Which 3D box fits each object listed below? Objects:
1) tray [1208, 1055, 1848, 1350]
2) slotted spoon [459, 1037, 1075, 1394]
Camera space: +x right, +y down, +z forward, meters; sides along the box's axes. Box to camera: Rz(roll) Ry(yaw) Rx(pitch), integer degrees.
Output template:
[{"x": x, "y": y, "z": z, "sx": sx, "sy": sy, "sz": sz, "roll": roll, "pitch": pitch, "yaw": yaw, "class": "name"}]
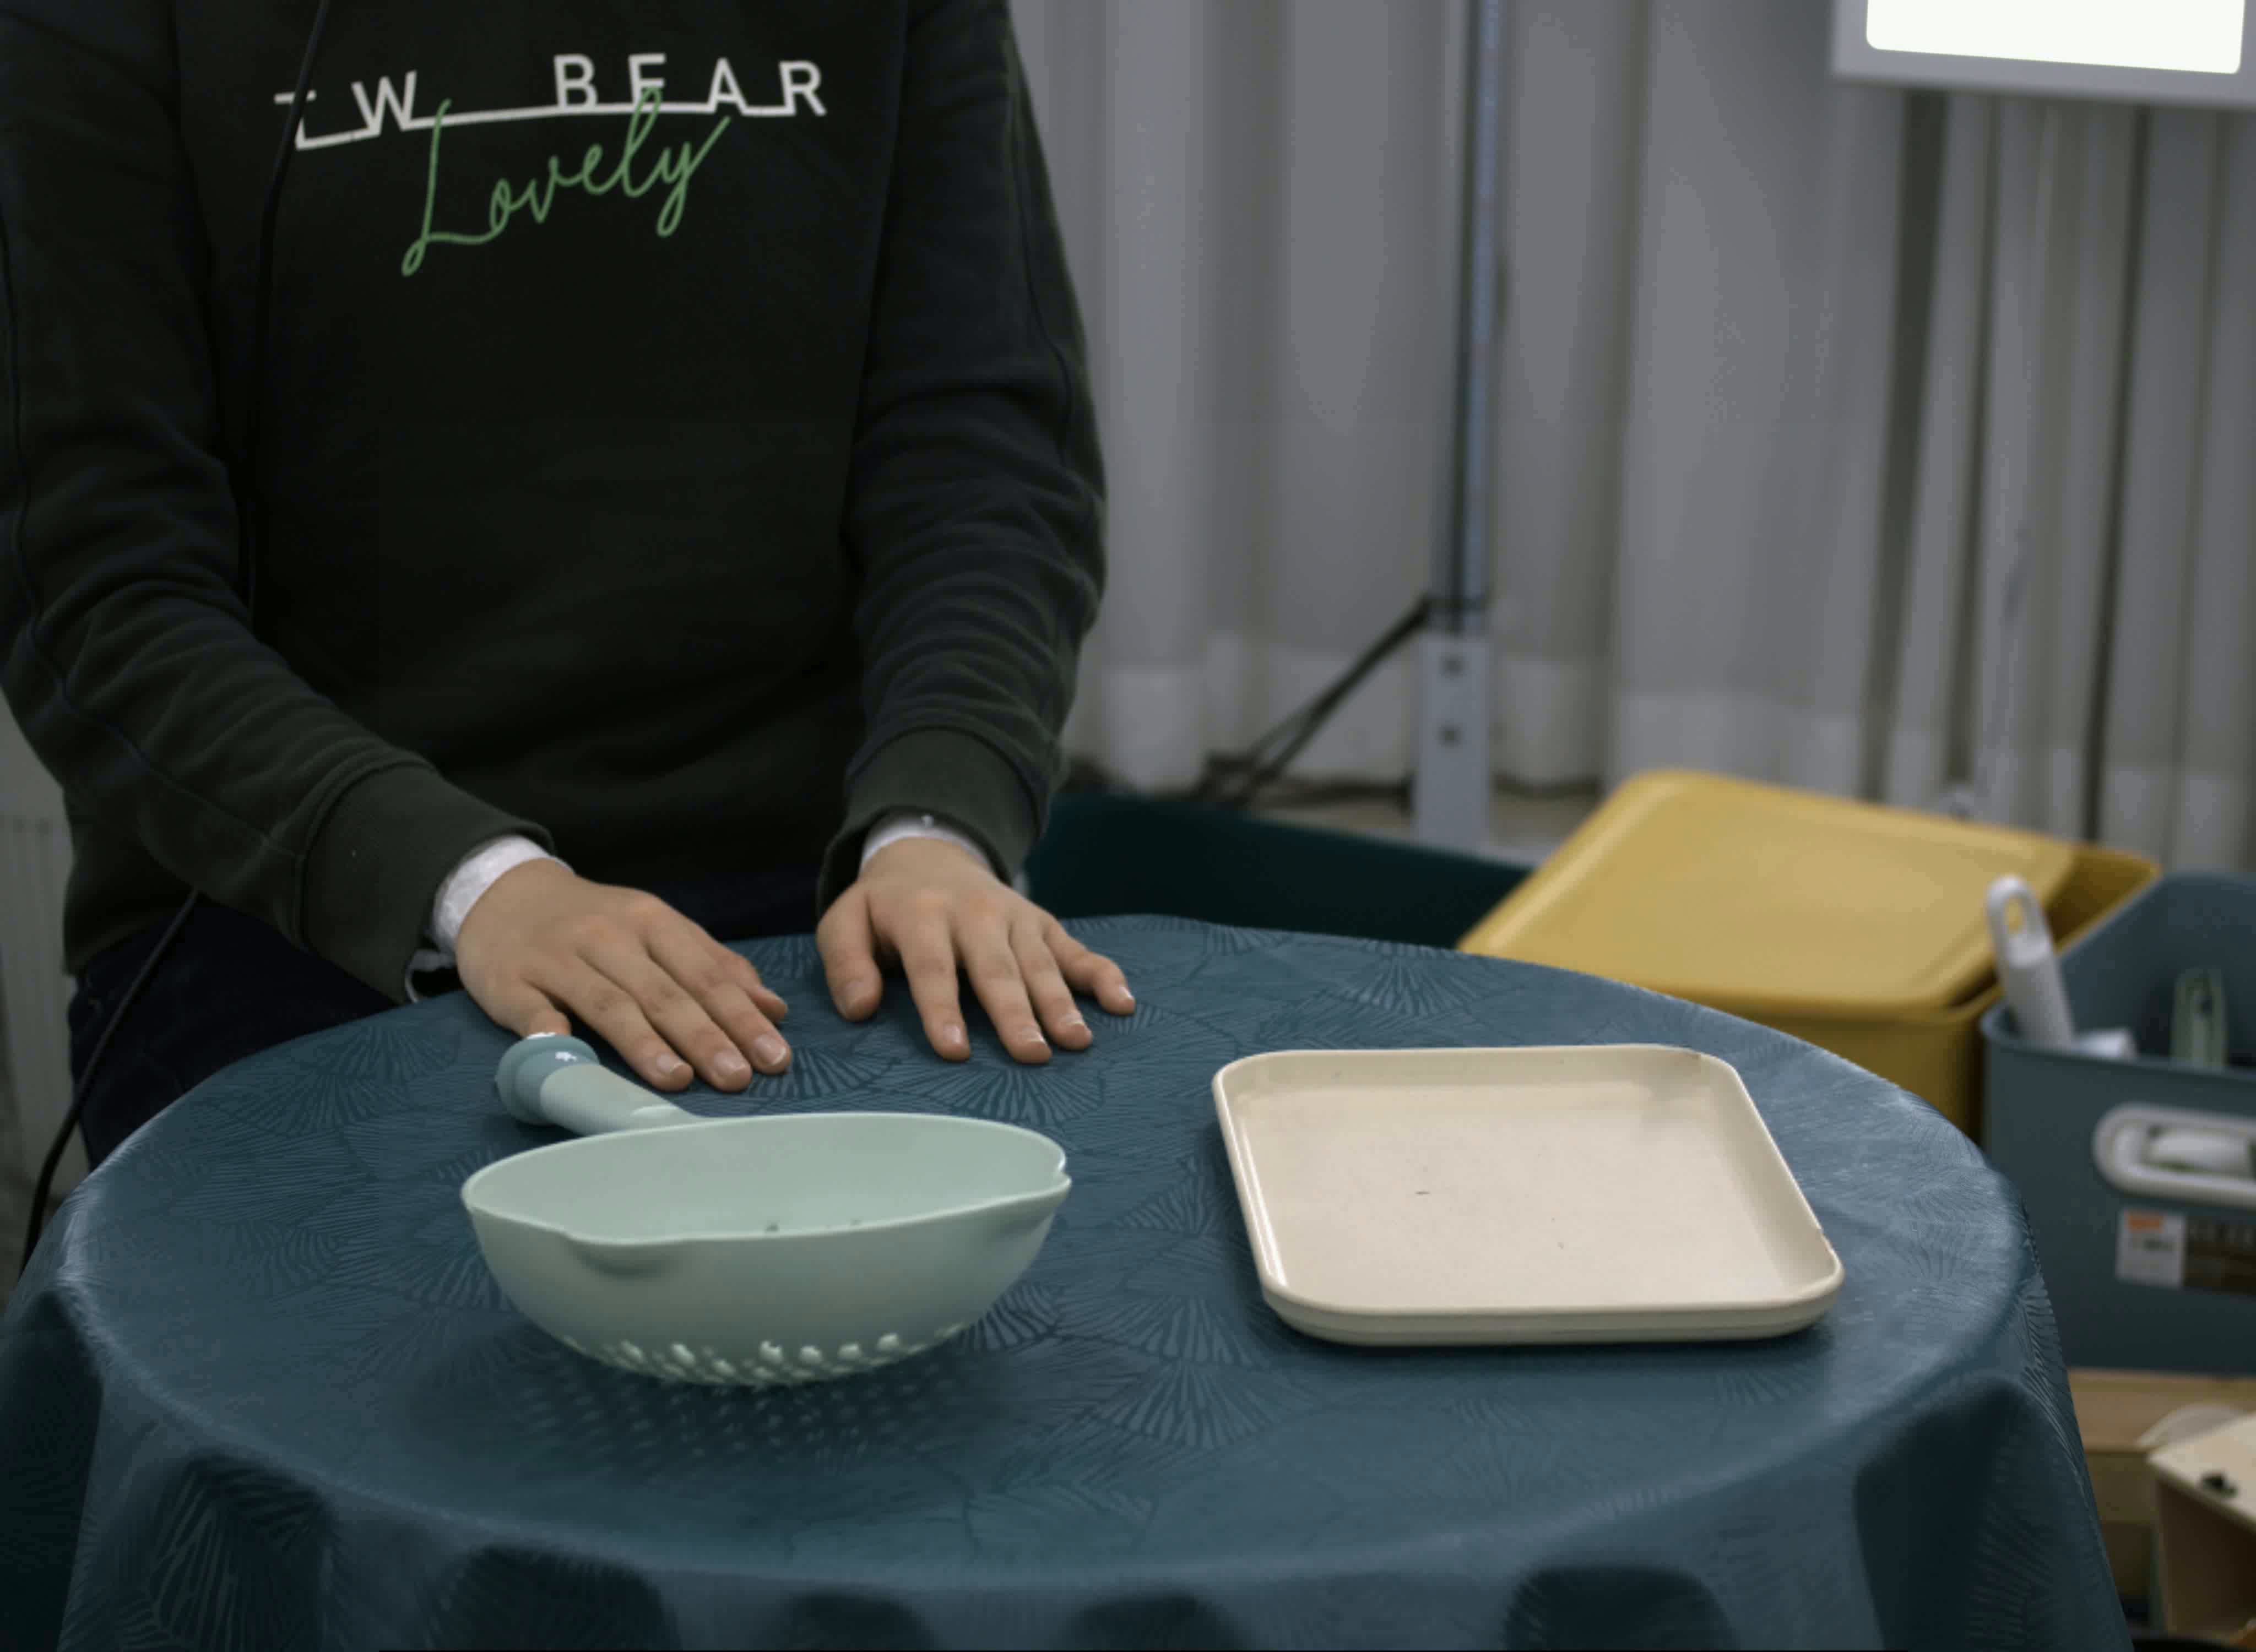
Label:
[{"x": 0.116, "y": 0.113, "z": 1.601, "sx": 0.171, "sy": 0.017, "sz": 0.238, "roll": 0, "pitch": 15, "yaw": -4, "class": "tray"}, {"x": -0.135, "y": 0.098, "z": 1.555, "sx": 0.170, "sy": 0.076, "sz": 0.355, "roll": -5, "pitch": 16, "yaw": -21, "class": "slotted spoon"}]
